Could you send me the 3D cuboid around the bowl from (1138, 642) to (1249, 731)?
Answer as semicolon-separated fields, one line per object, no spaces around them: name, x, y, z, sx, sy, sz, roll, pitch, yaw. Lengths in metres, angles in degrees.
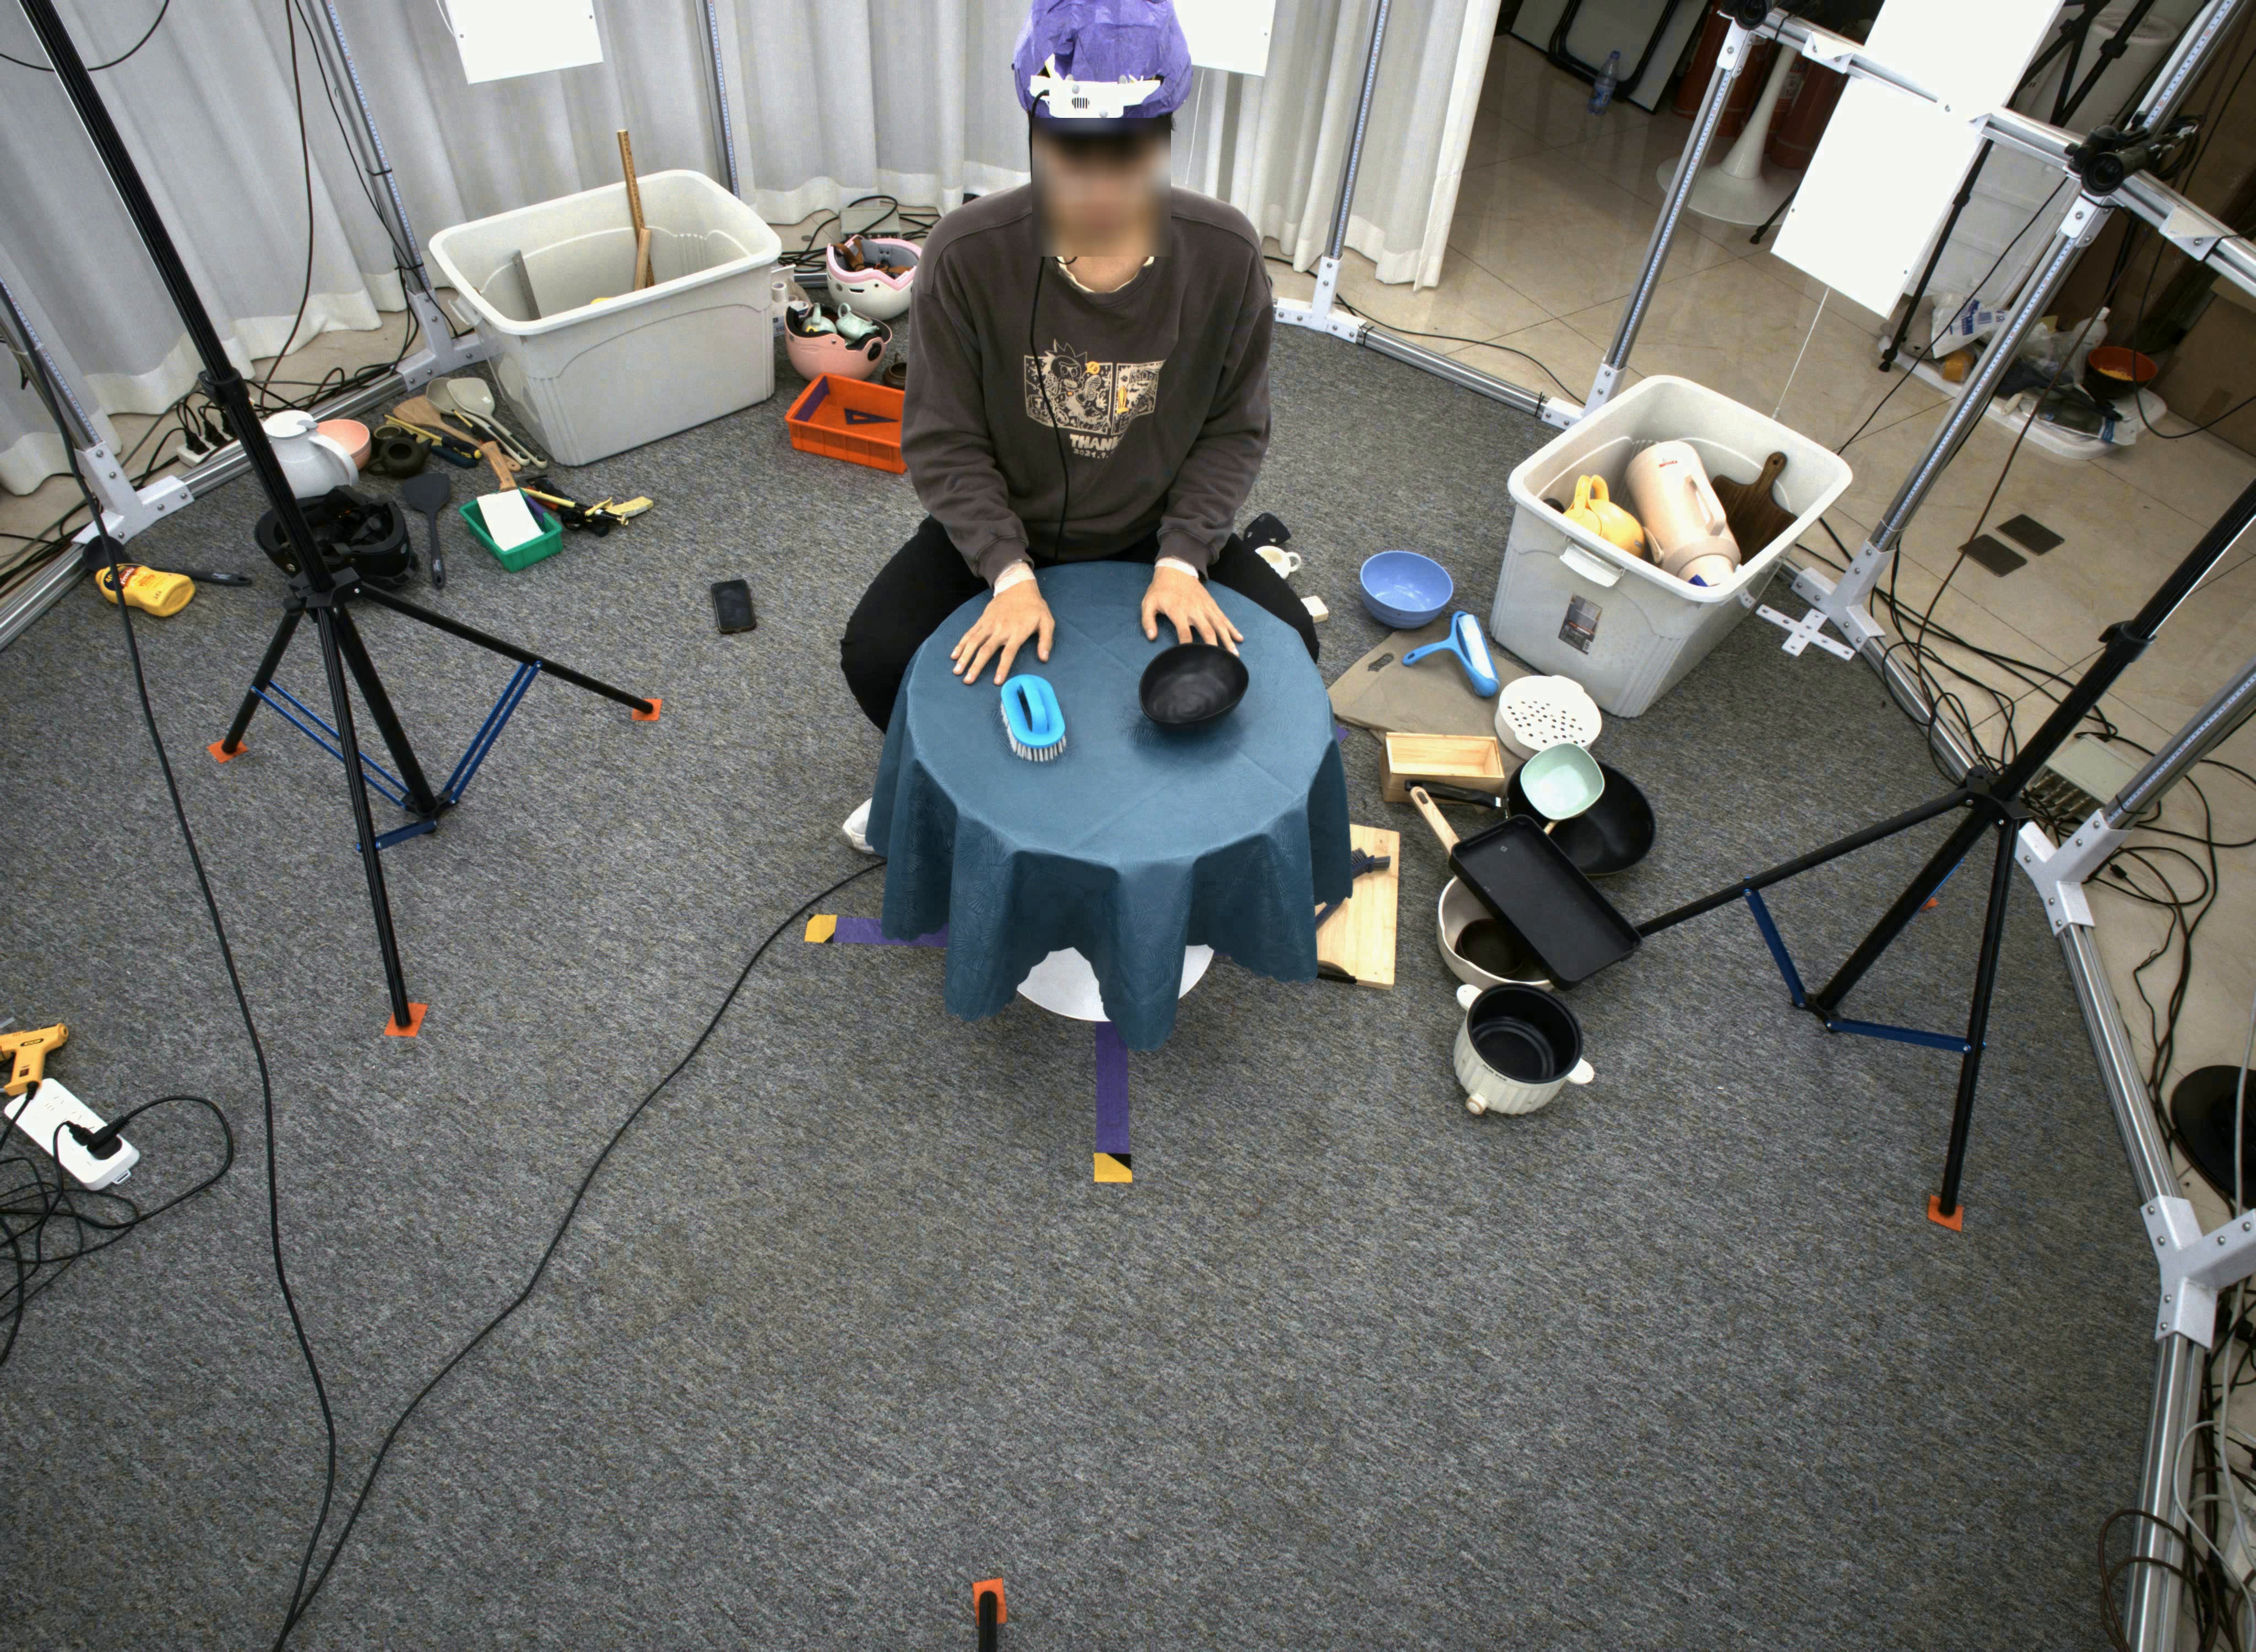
bowl;0.090;-0.181;1.788;0.139;0.065;0.172;37;58;26

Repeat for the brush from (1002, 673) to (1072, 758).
brush;-0.127;-0.162;1.756;0.084;0.062;0.145;-11;49;-7
